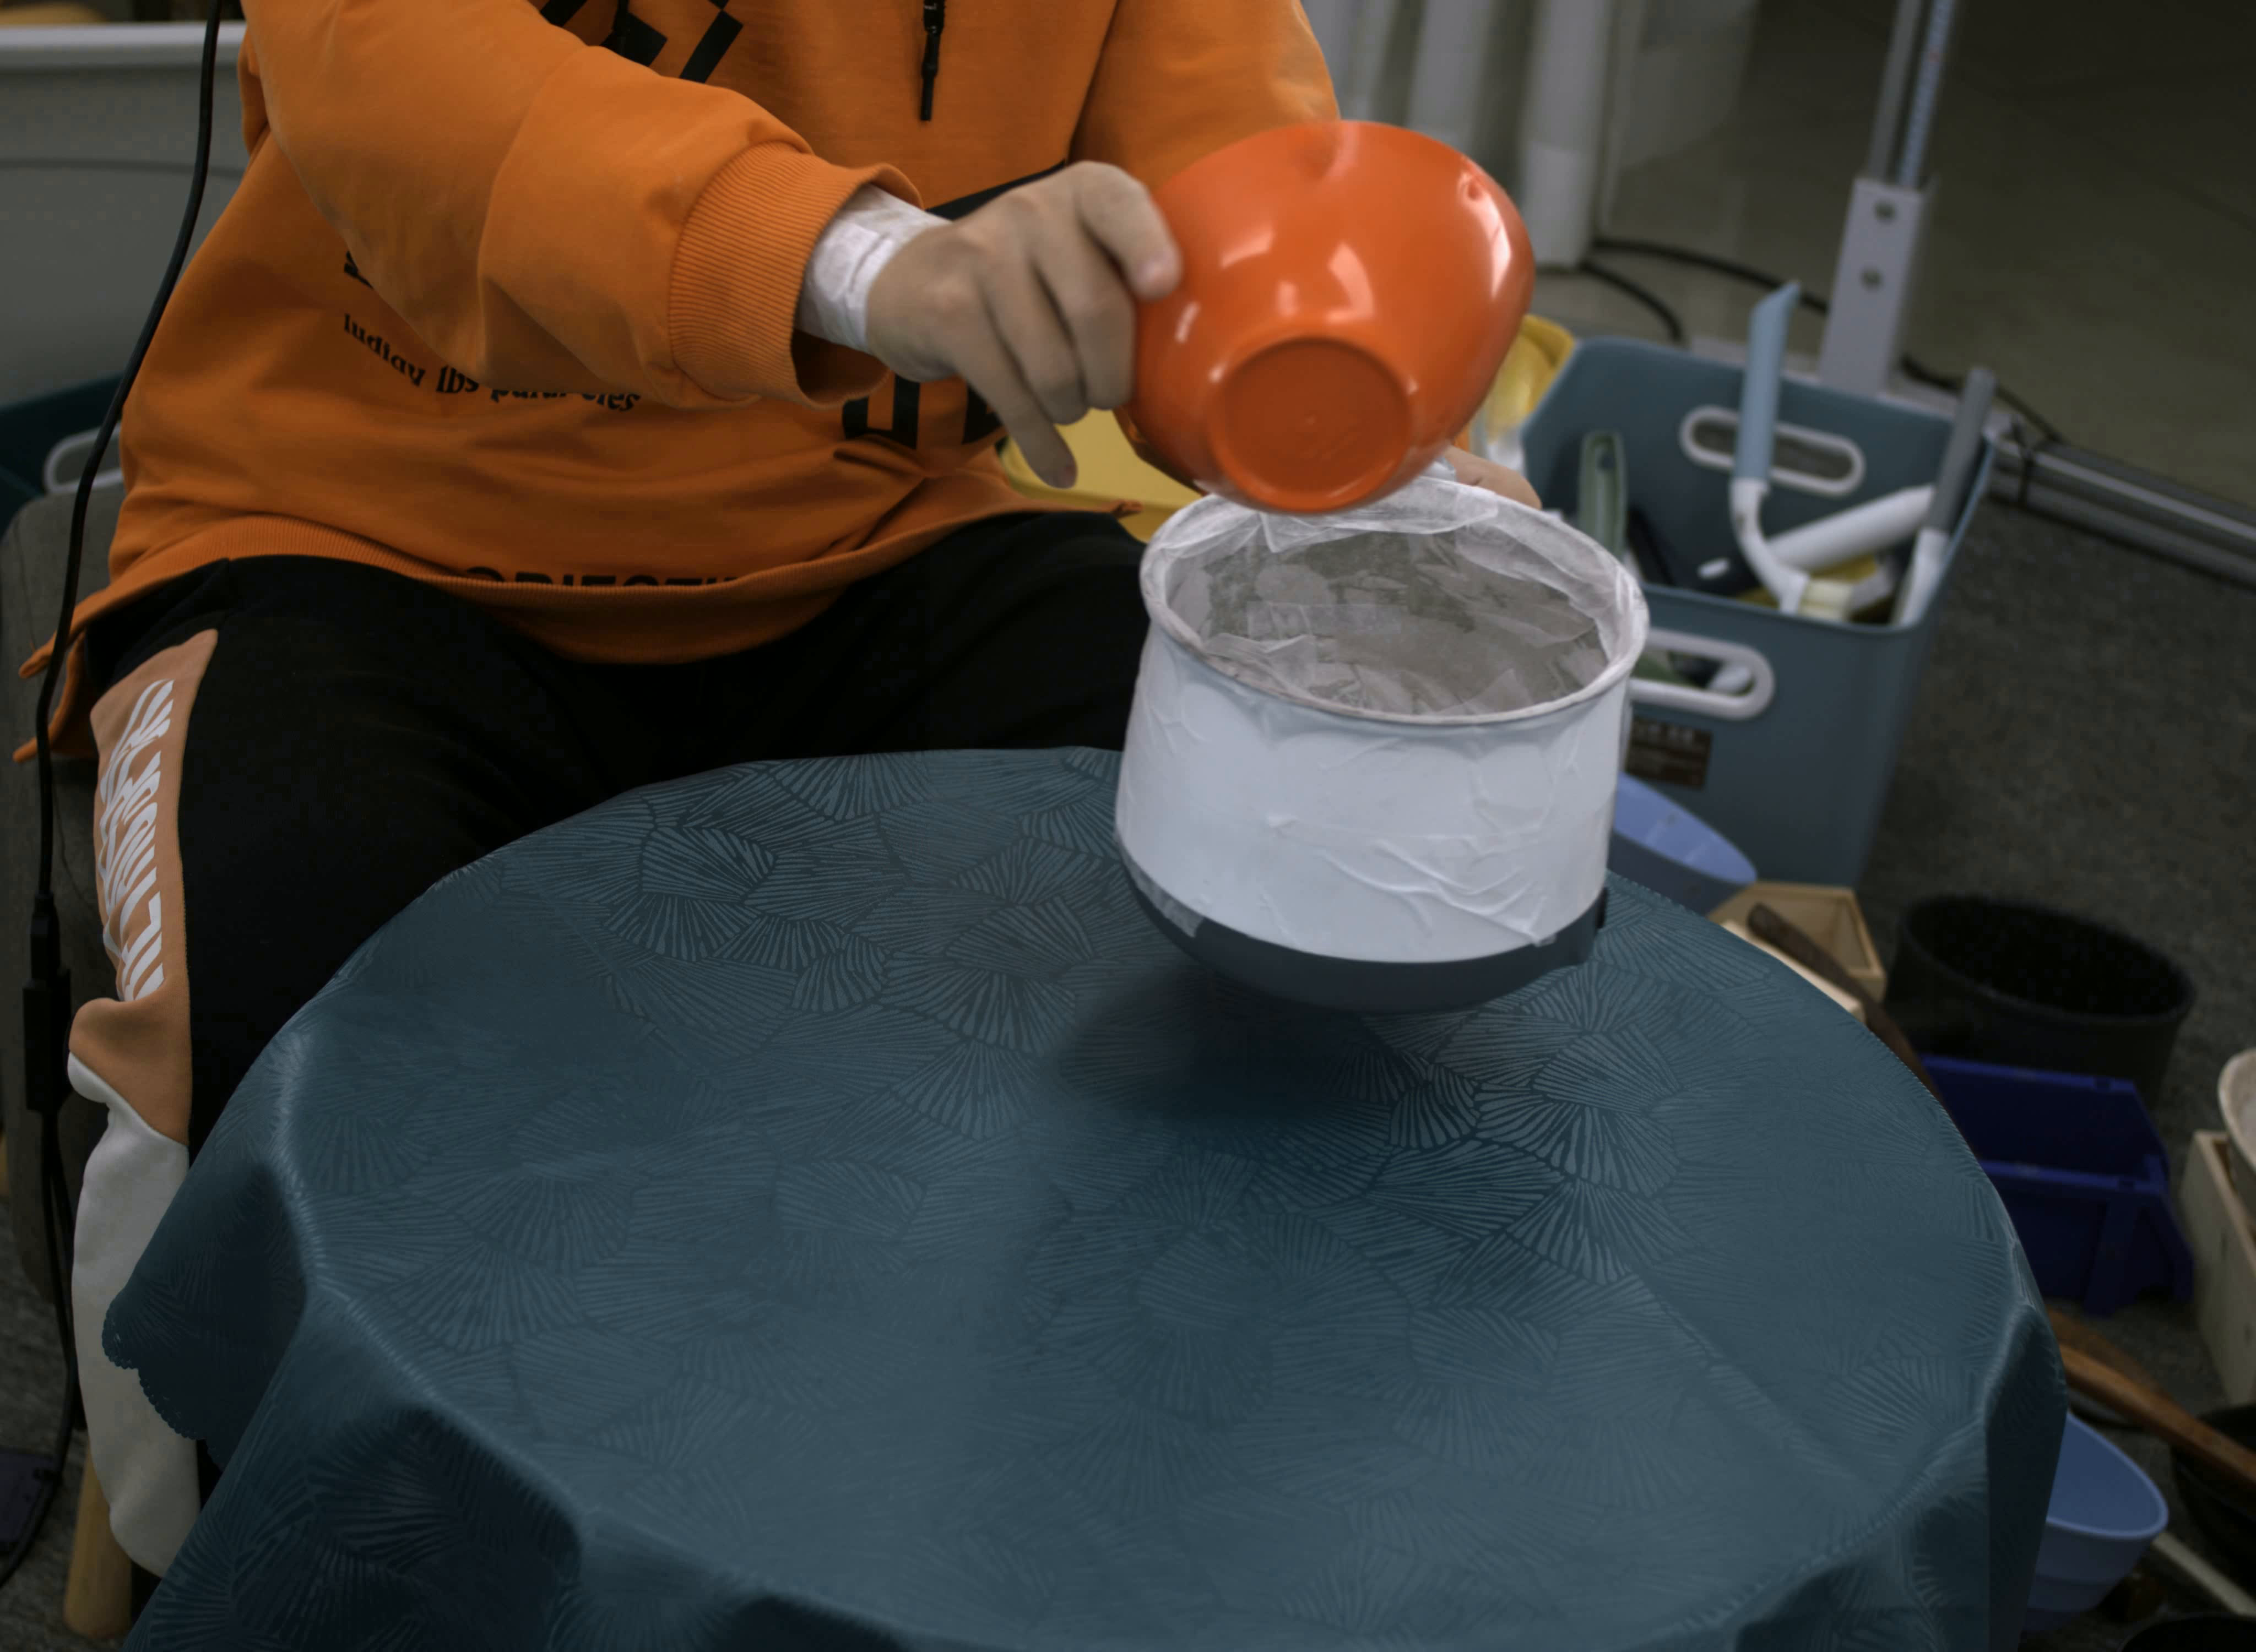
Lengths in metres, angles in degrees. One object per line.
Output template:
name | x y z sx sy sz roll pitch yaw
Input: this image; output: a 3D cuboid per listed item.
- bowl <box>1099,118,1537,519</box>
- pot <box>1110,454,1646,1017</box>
bowl | 0.065 -0.150 1.734 0.147 0.147 0.105 4 32 -6
pot | 0.088 -0.041 1.889 0.178 0.136 0.235 9 31 4
